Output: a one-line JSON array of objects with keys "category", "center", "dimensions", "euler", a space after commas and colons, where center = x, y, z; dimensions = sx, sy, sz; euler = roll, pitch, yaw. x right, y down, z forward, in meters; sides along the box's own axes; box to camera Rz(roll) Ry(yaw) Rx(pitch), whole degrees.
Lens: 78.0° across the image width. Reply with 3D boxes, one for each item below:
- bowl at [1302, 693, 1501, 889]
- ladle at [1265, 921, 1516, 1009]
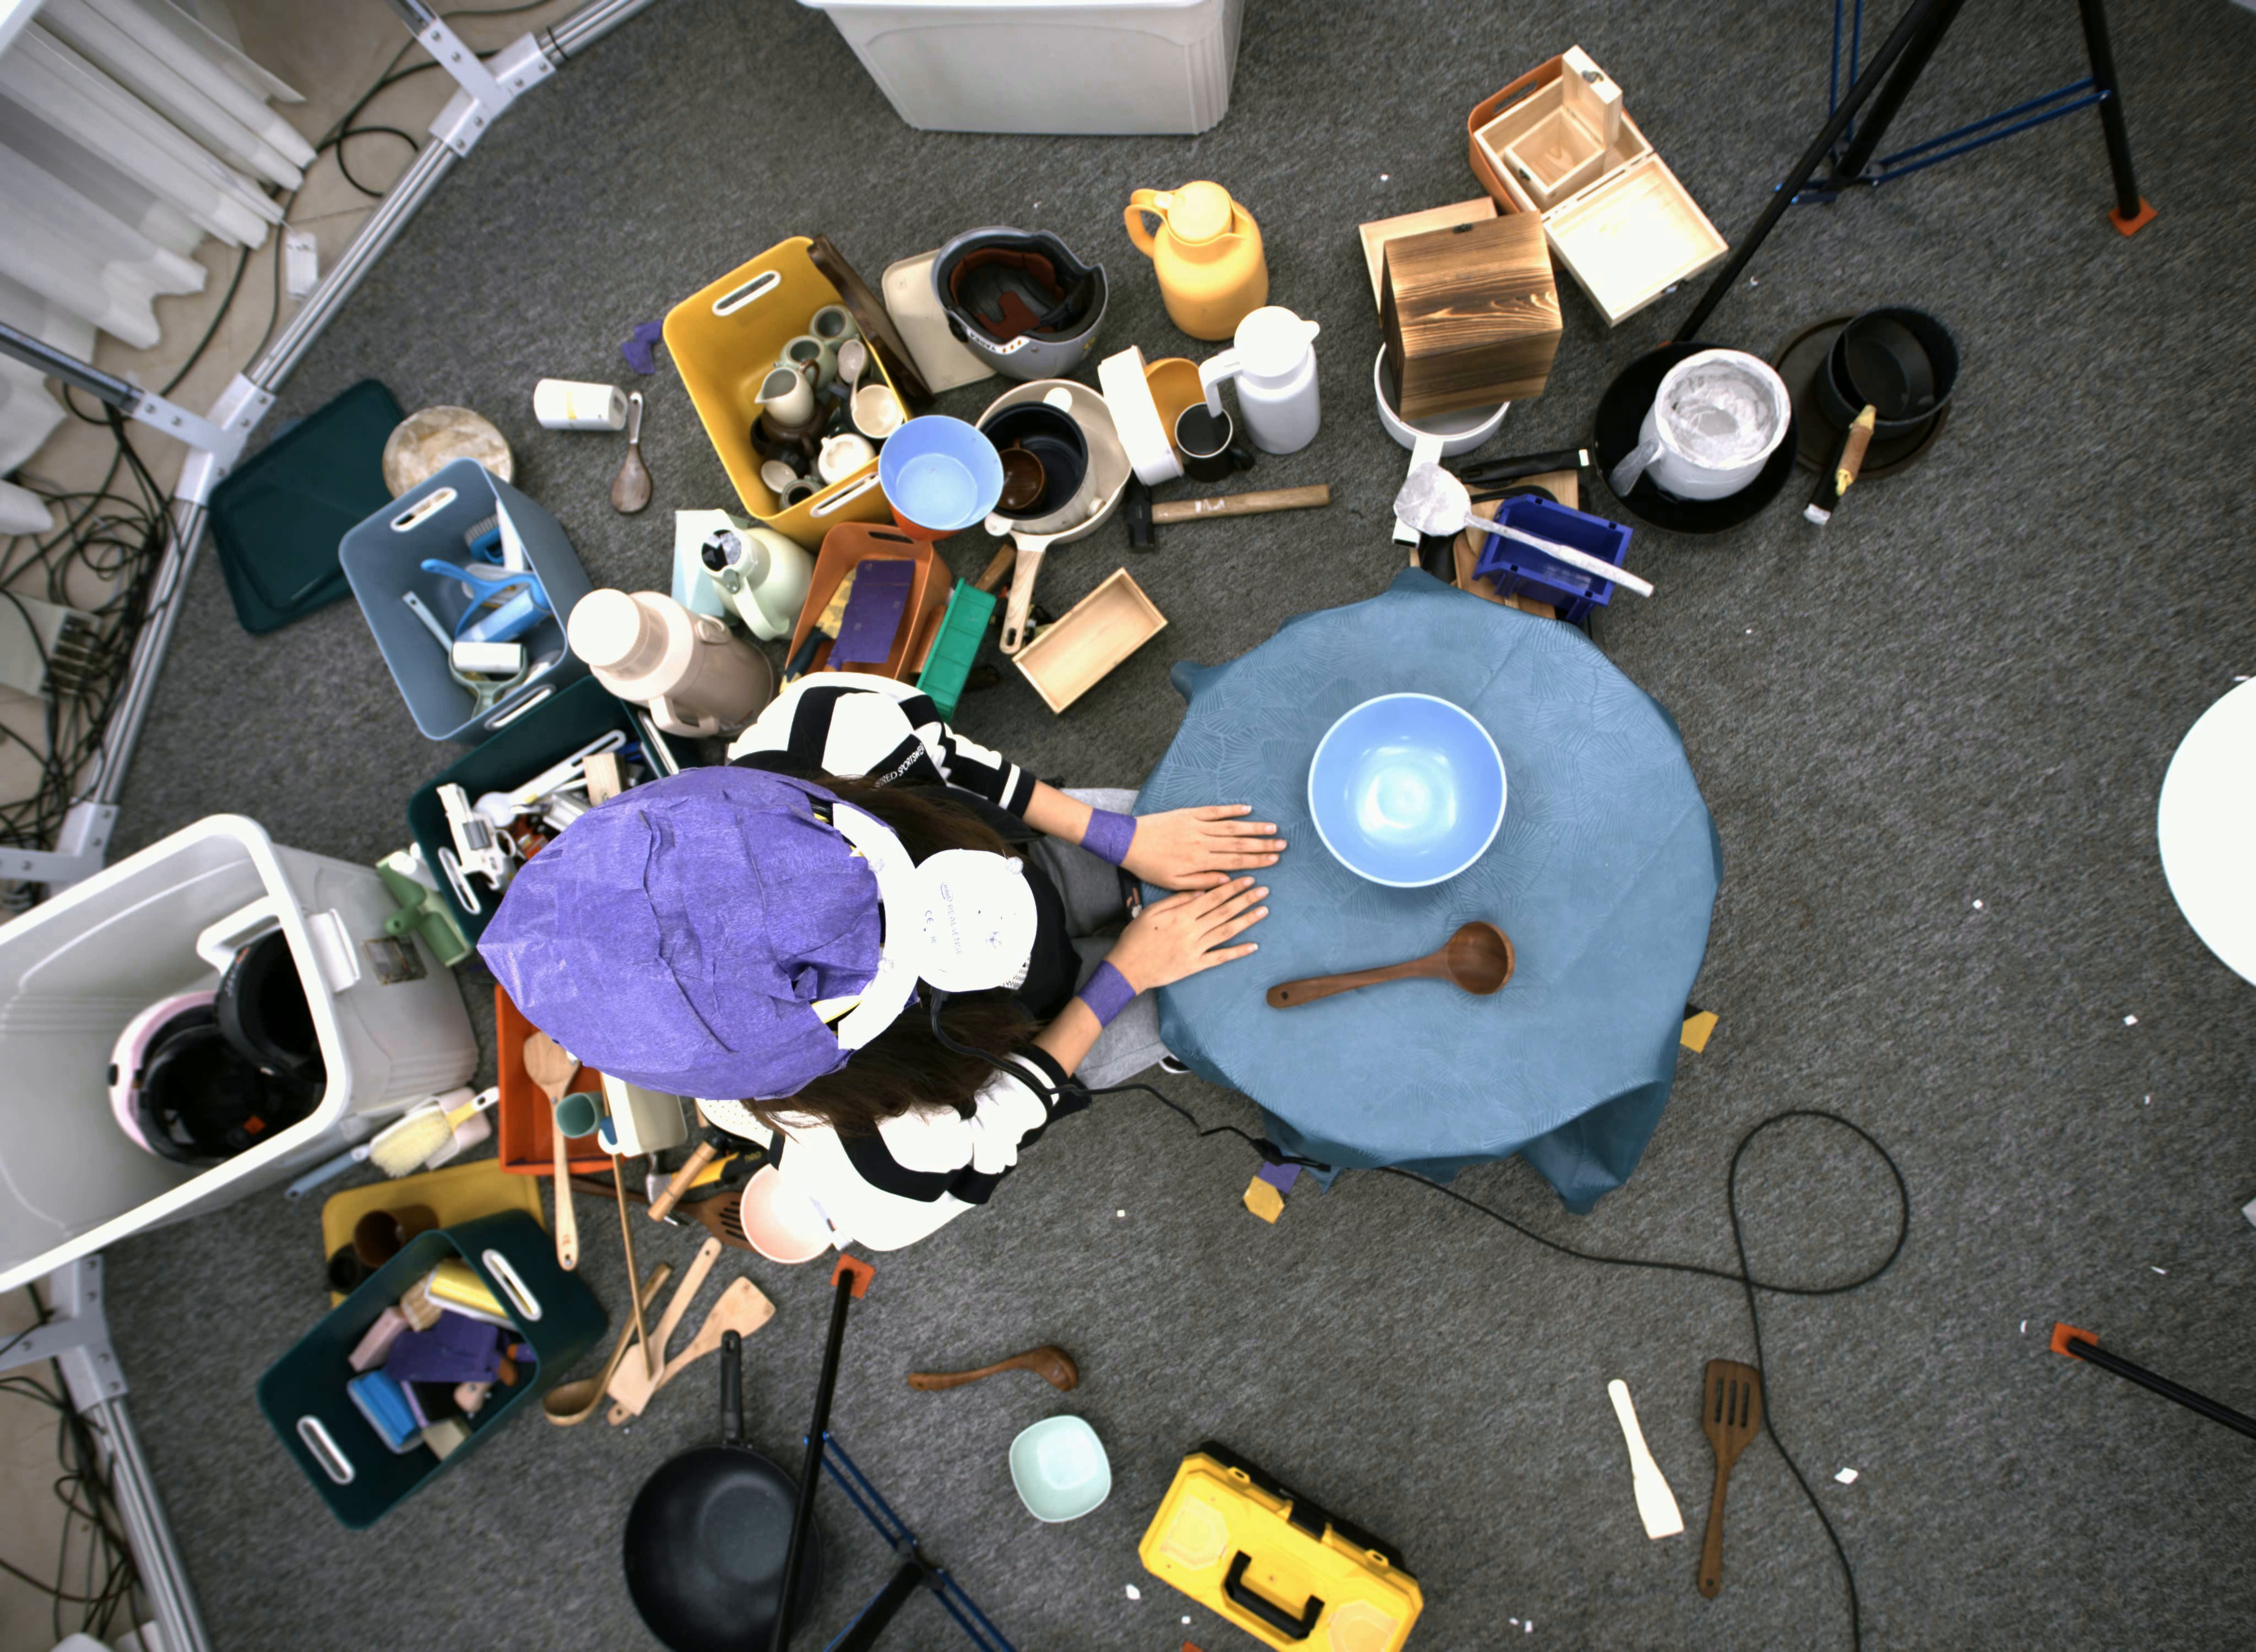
[{"category": "bowl", "center": [0.277, -0.035, 1.417], "dimensions": [0.197, 0.095, 0.196], "euler": [0, 91, 6]}, {"category": "ladle", "center": [0.267, 0.152, 1.424], "dimensions": [0.261, 0.065, 0.075], "euler": [-11, 77, 10]}]
